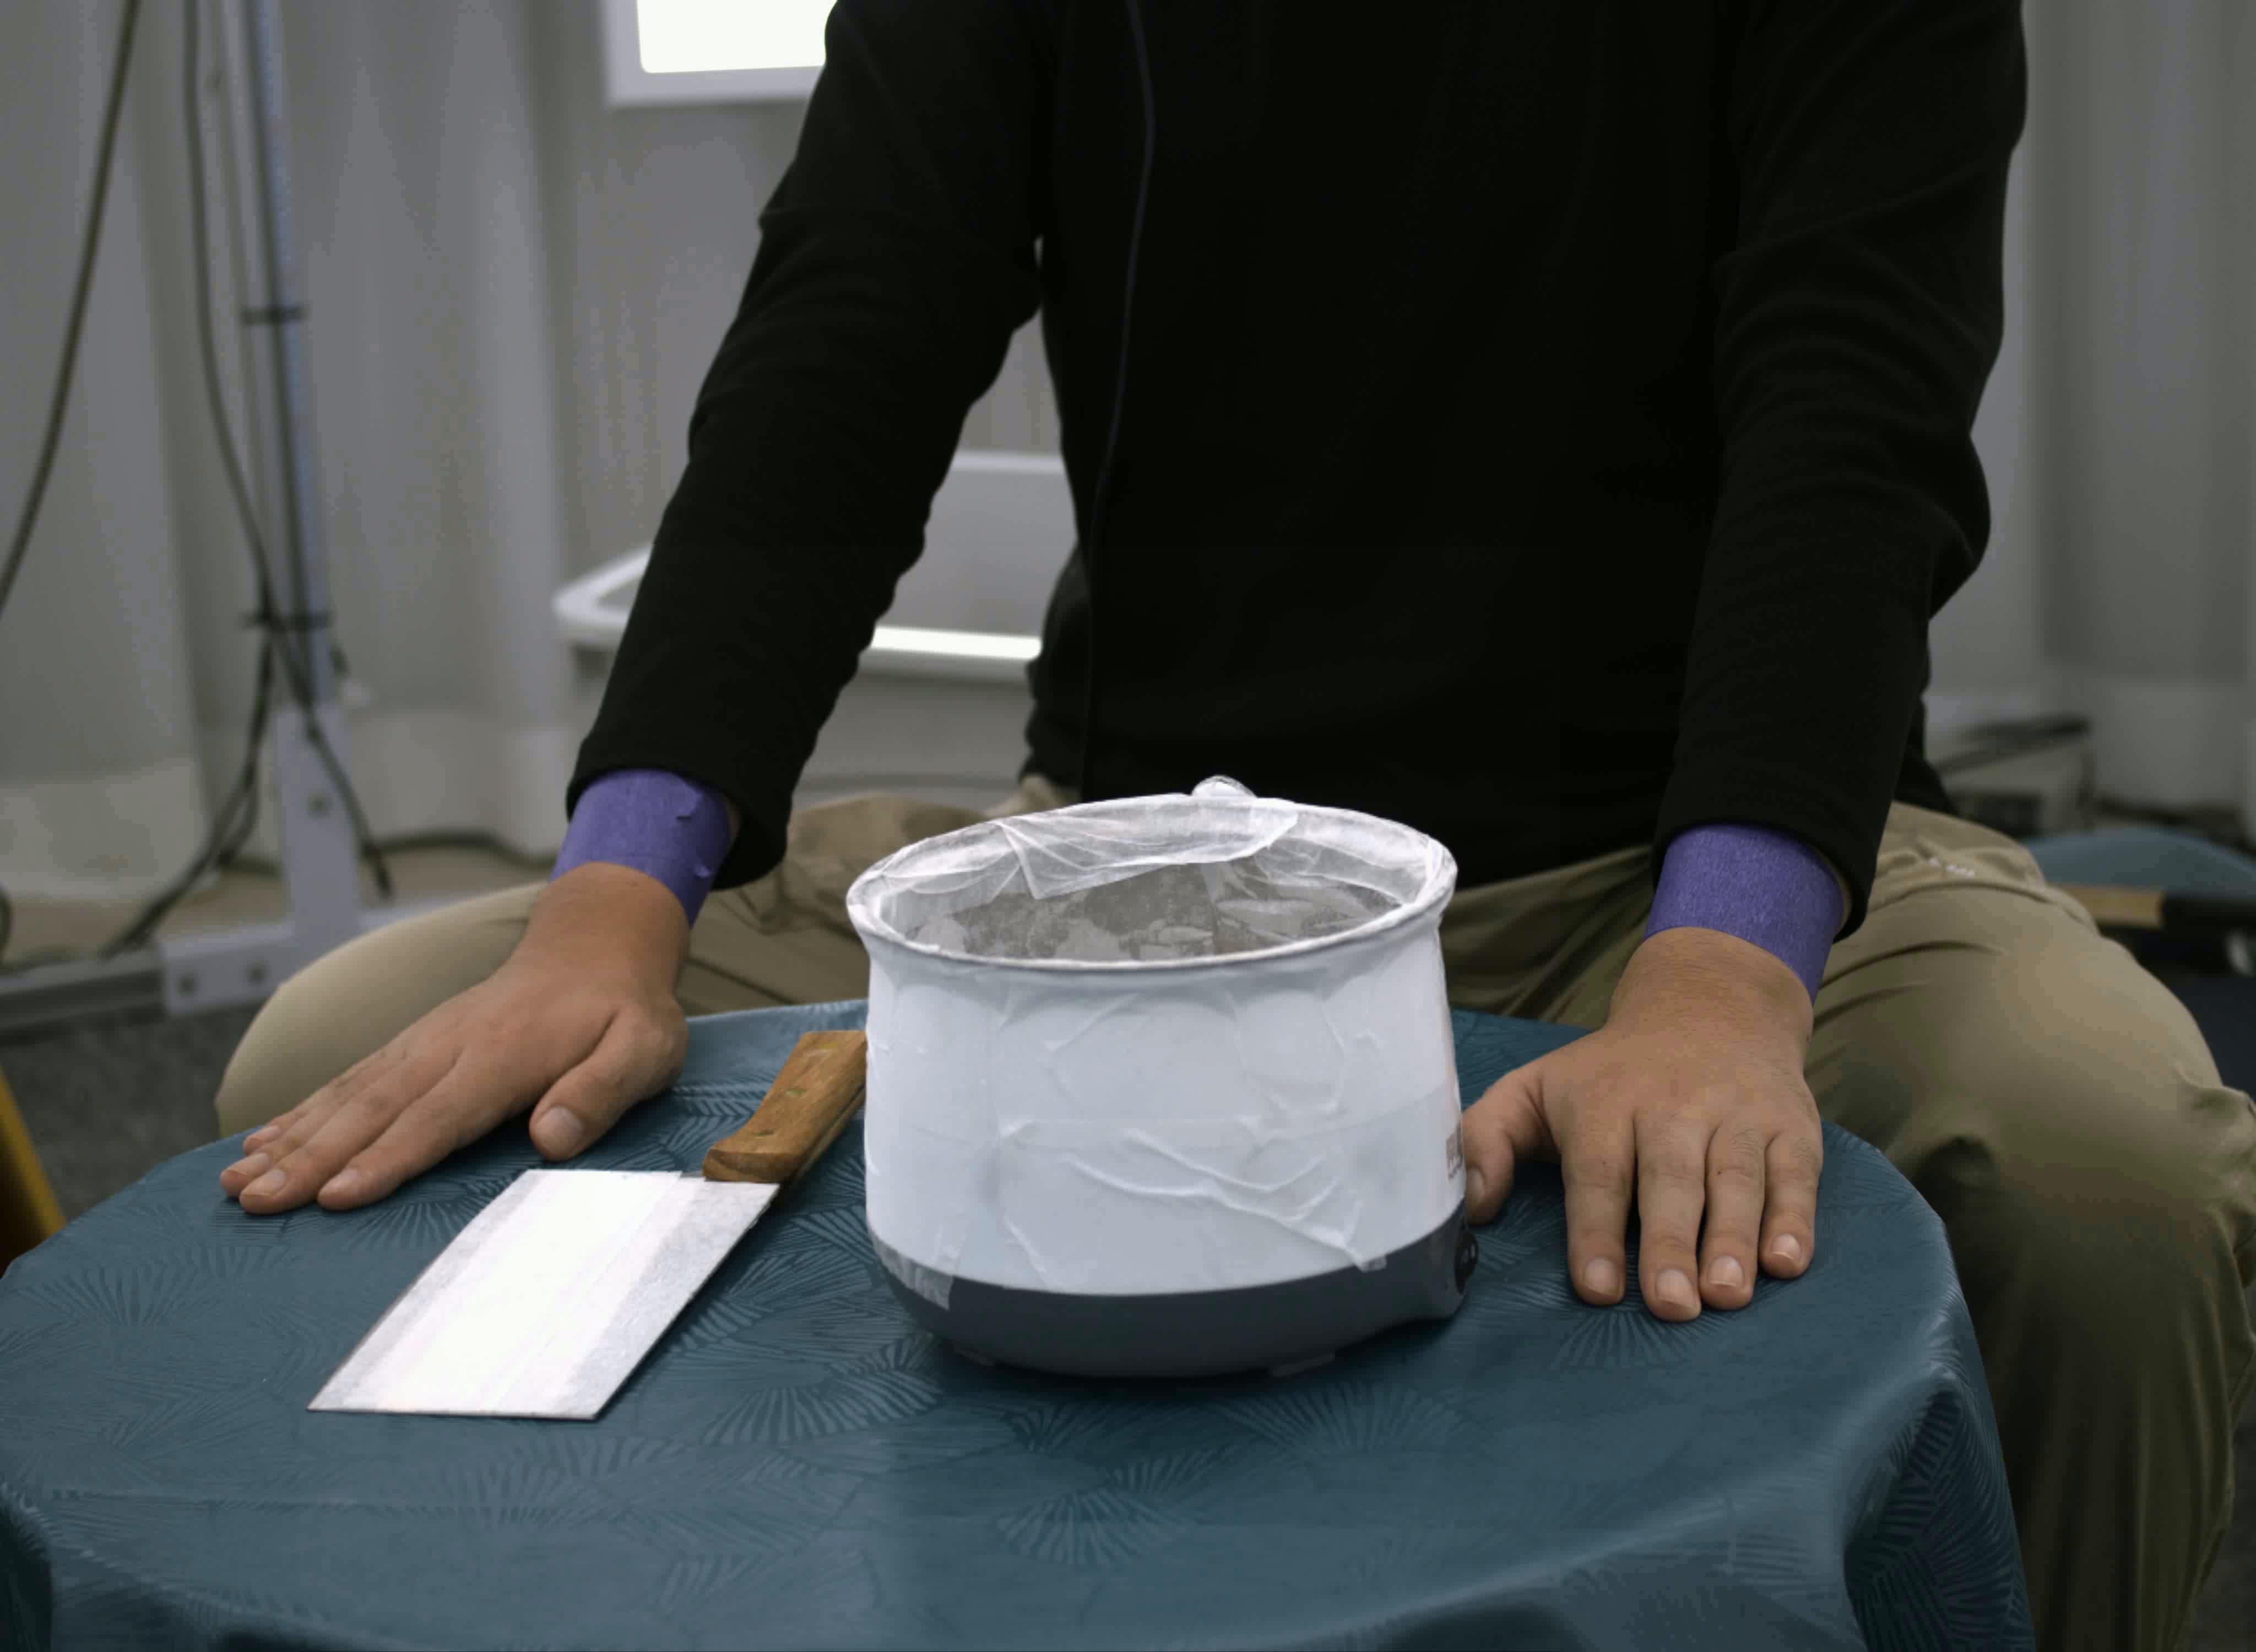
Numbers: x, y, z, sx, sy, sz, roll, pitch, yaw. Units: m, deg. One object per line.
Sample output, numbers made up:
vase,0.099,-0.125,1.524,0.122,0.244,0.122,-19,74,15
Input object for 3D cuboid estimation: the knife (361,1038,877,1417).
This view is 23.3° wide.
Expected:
knife,-0.155,0.122,1.690,0.093,0.021,0.307,1,17,14

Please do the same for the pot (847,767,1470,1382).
pot,0.015,0.068,1.618,0.178,0.136,0.235,1,16,11
